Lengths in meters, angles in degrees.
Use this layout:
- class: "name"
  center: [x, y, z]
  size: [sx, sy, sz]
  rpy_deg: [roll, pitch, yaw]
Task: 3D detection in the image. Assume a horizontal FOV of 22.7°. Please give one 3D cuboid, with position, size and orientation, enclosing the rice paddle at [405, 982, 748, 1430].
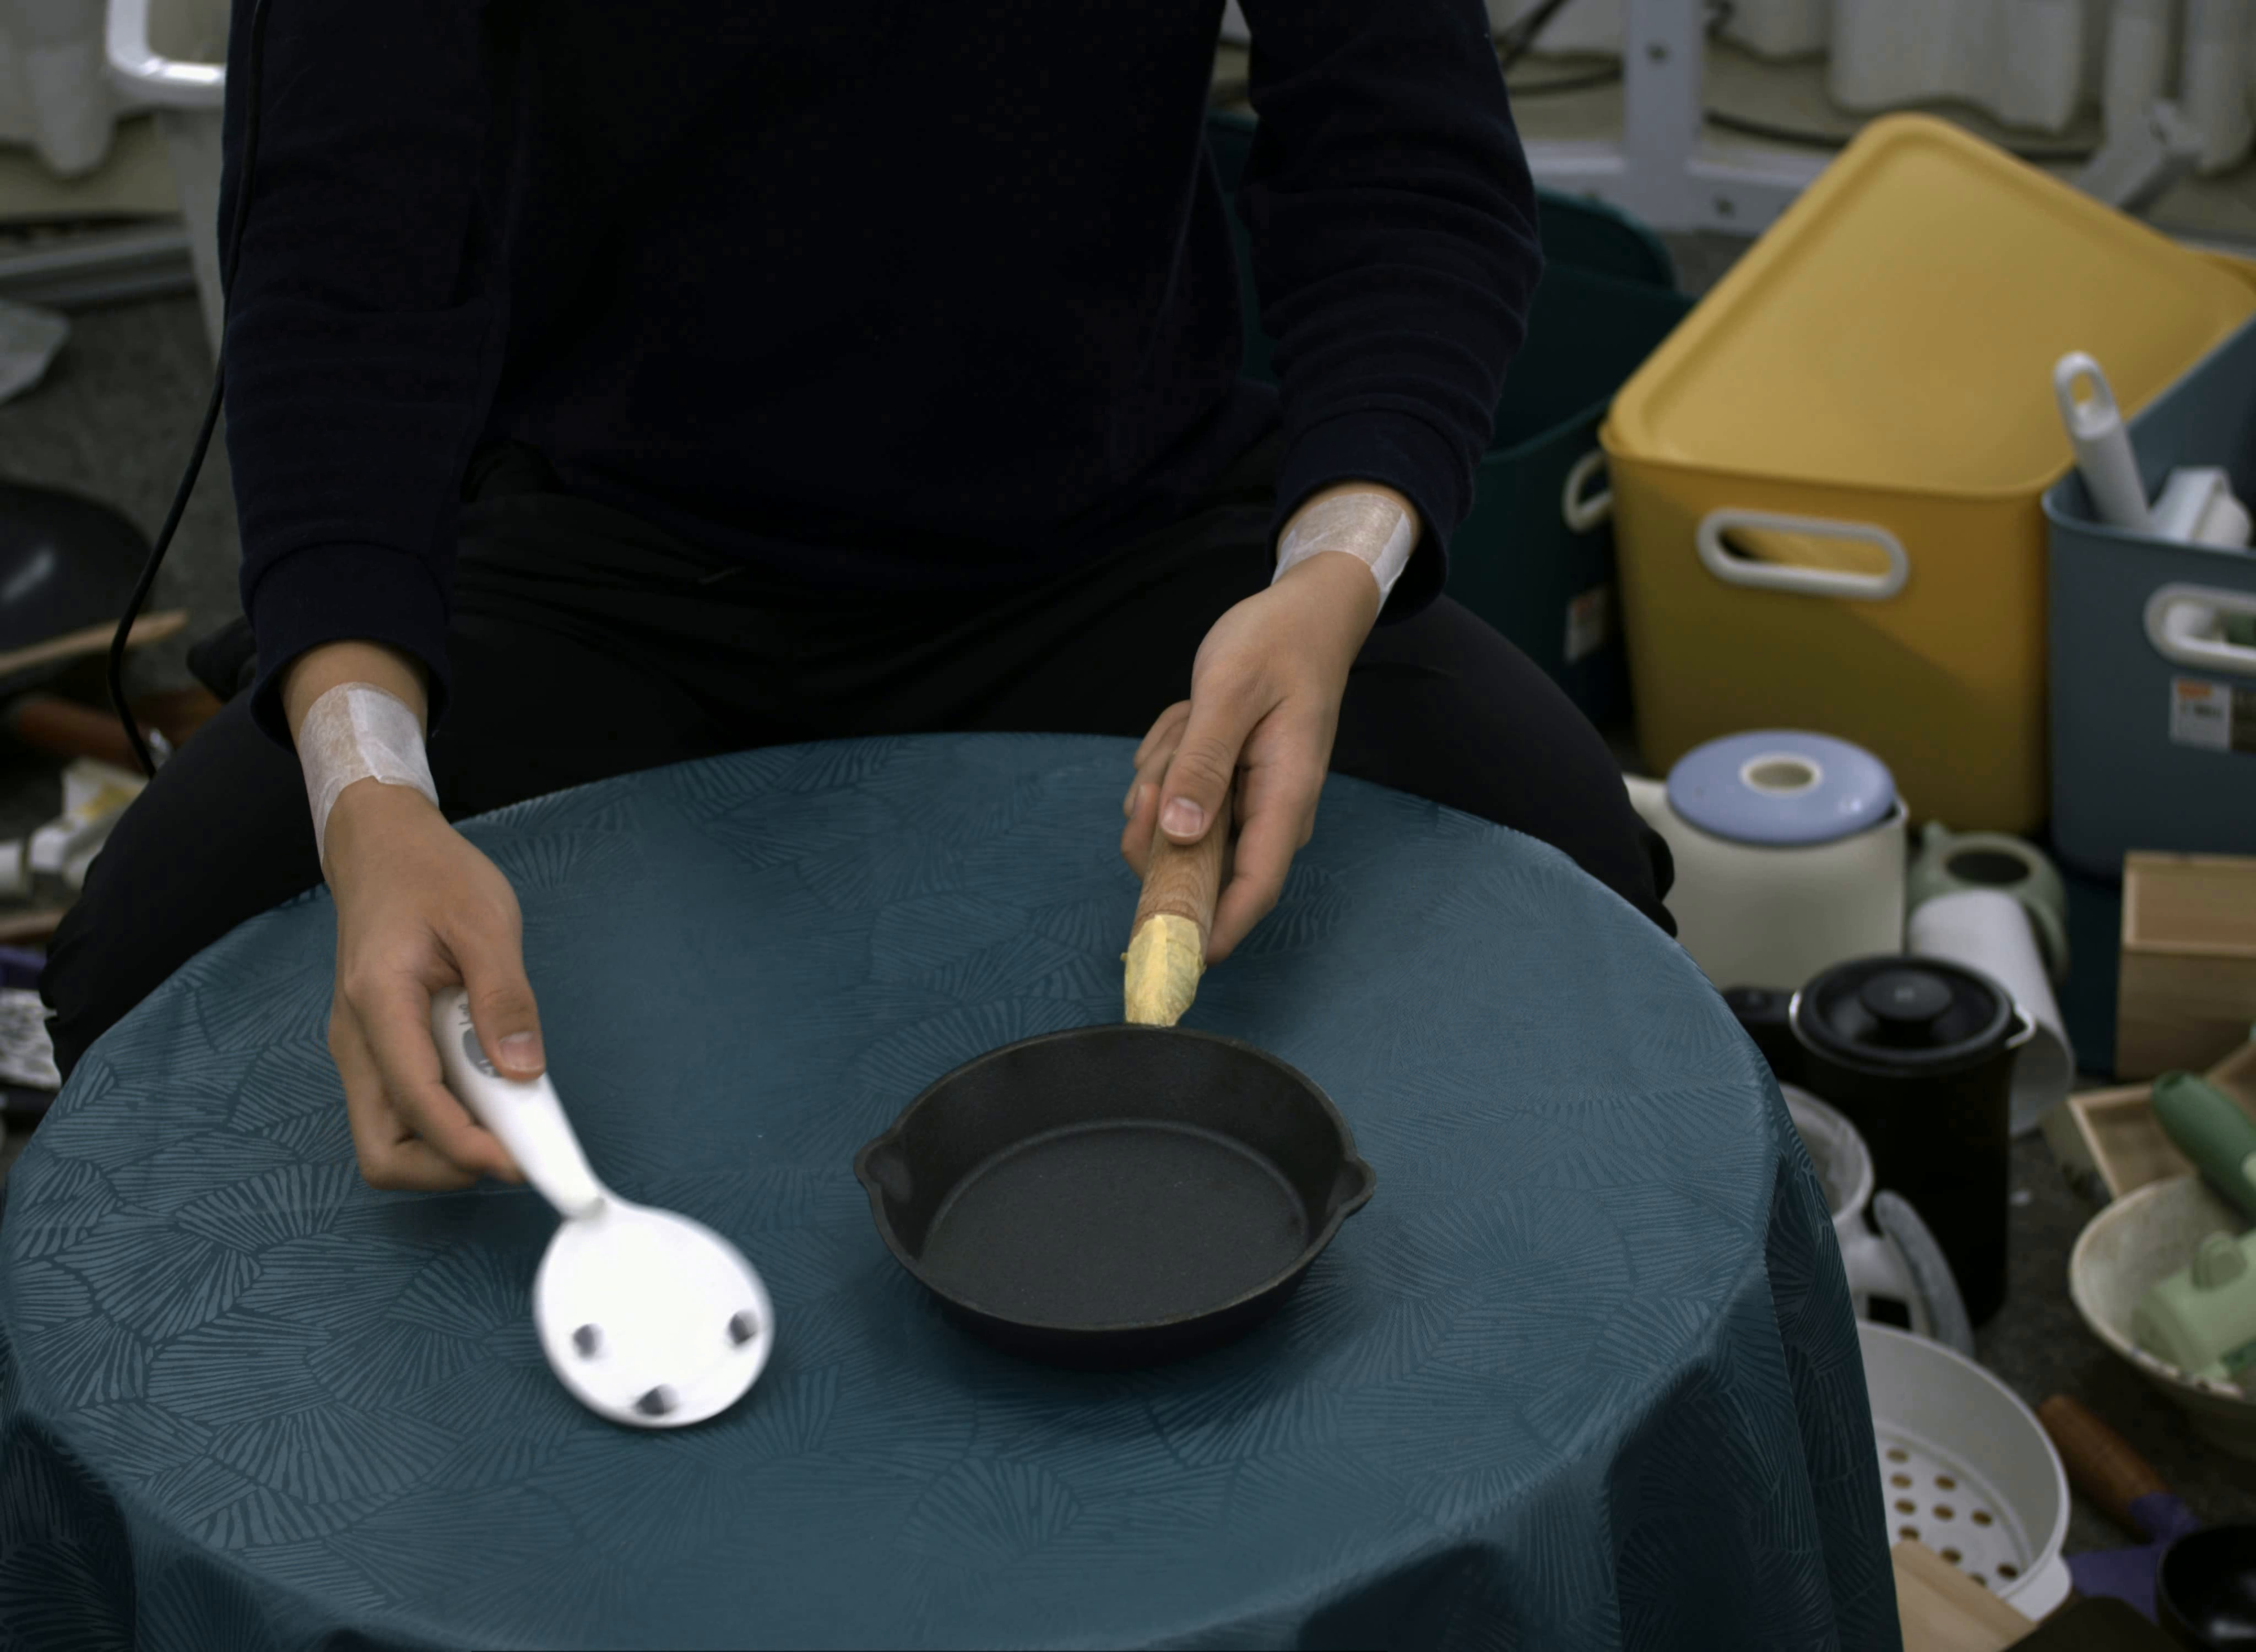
- class: "rice paddle"
  center: [-0.182, 0.123, 1.812]
  size: [0.069, 0.029, 0.207]
  rpy_deg: [-20, 44, -17]

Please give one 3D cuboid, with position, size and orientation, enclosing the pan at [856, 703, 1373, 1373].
- class: "pan"
  center: [0.010, 0.068, 1.876]
  size: [0.168, 0.049, 0.330]
  rpy_deg: [3, 36, 10]
